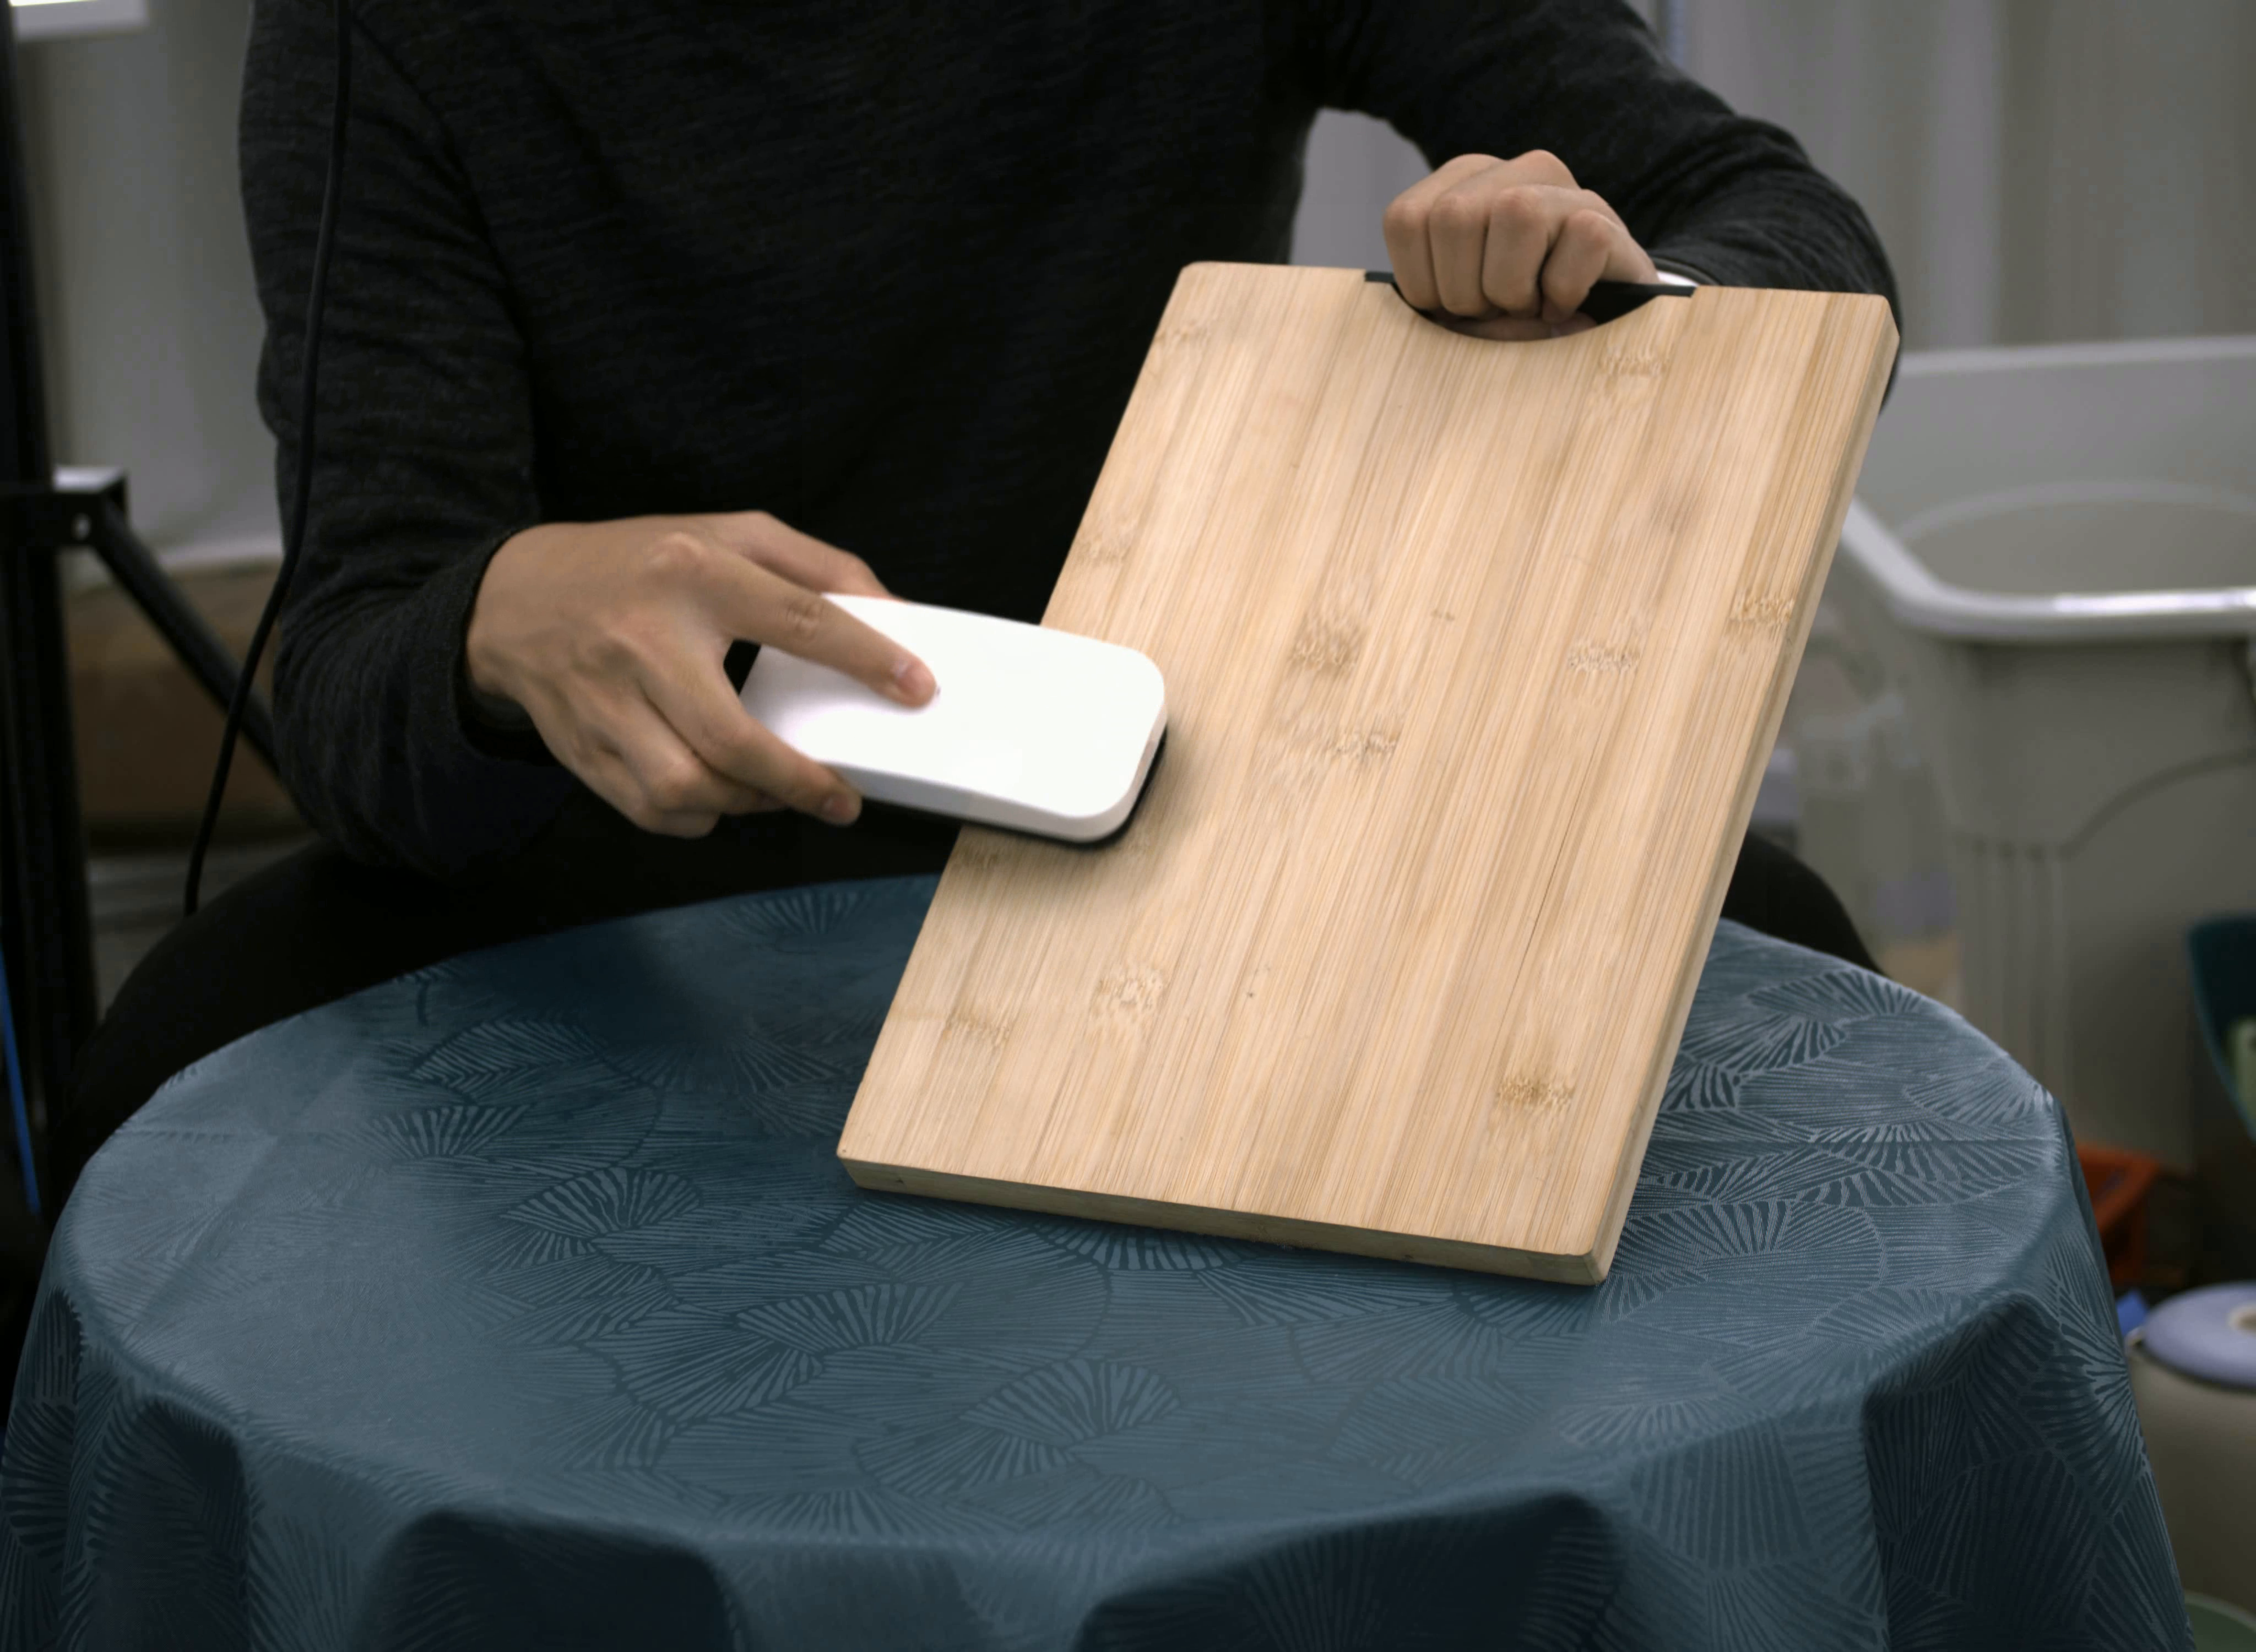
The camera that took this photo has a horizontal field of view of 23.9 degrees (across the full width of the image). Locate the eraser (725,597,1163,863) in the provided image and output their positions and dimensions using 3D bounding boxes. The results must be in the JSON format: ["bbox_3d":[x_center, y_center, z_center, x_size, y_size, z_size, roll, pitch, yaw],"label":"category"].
[{"bbox_3d":[-0.055,-0.031,1.614,0.133,0.034,0.063,13,60,22],"label":"eraser"}]

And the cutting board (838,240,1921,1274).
[{"bbox_3d":[0.078,-0.031,1.595,0.255,0.023,0.349,5,58,27],"label":"cutting board"}]
